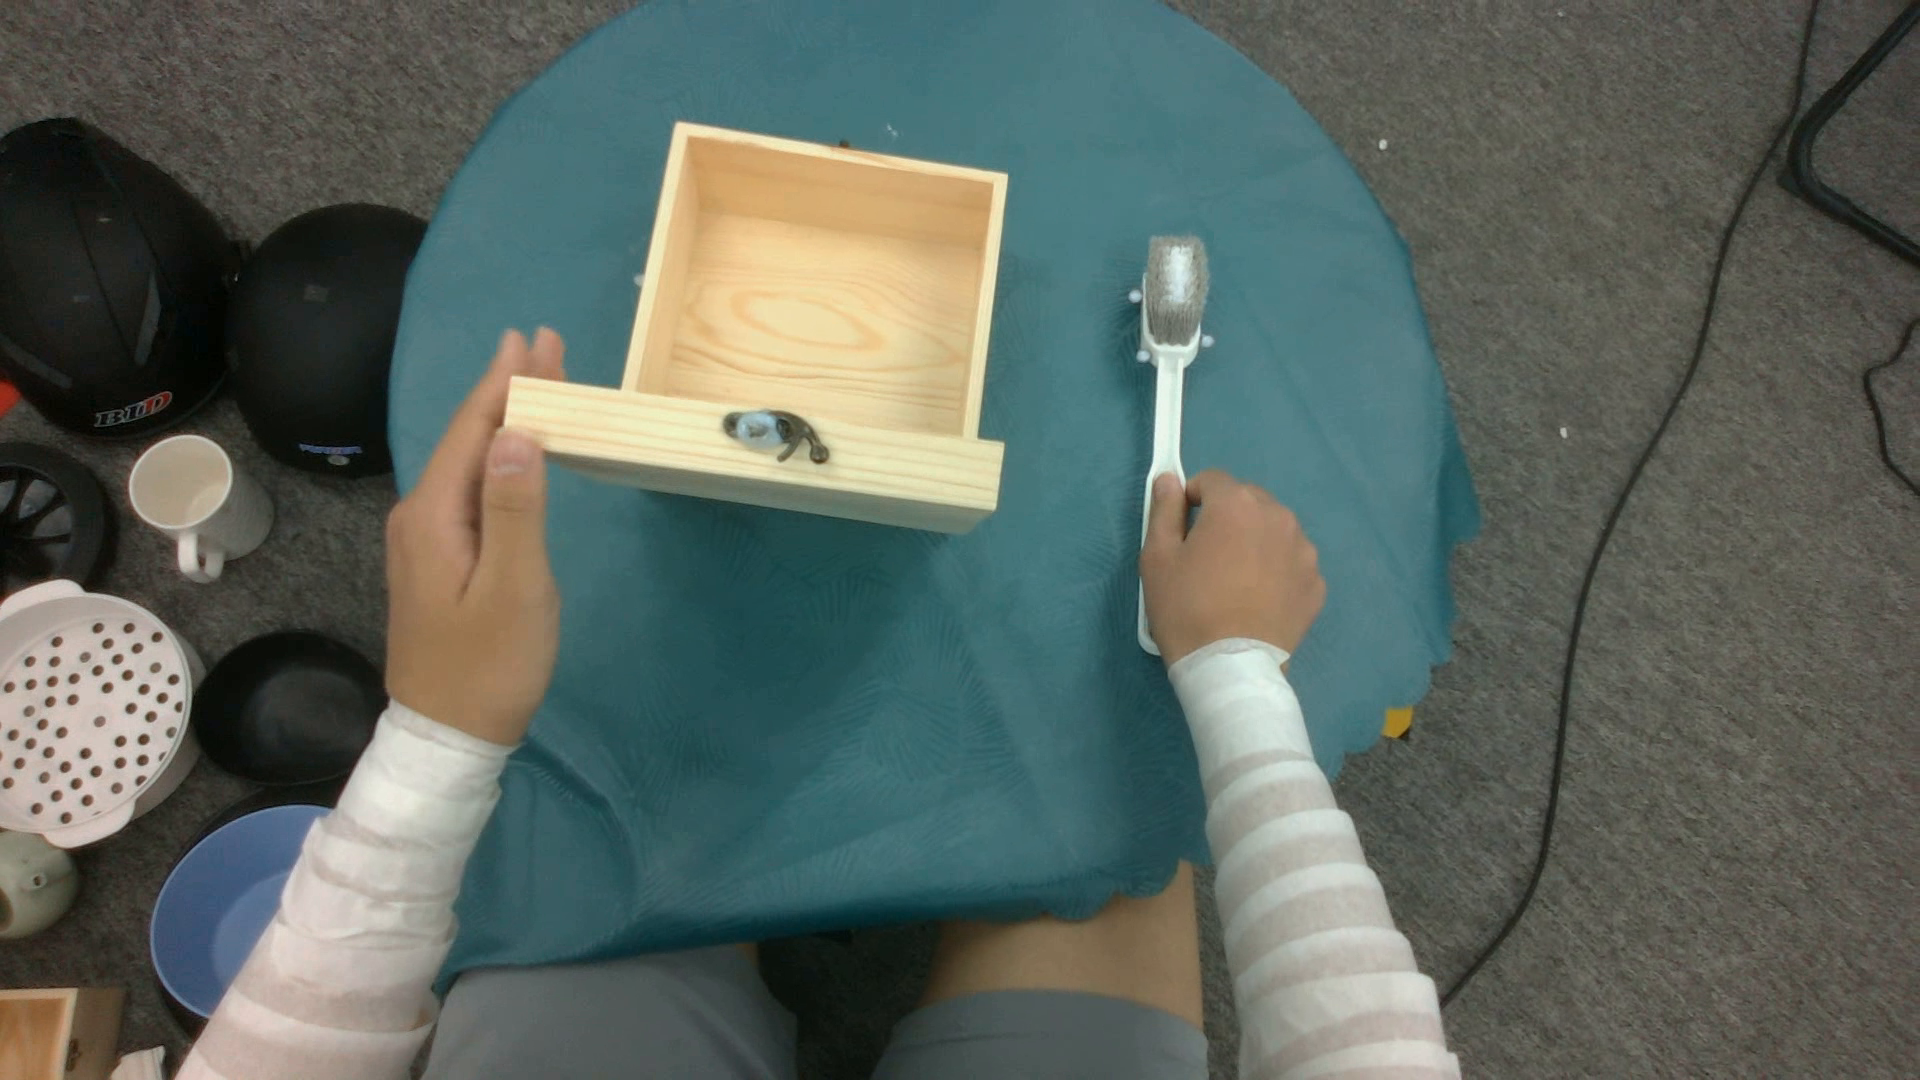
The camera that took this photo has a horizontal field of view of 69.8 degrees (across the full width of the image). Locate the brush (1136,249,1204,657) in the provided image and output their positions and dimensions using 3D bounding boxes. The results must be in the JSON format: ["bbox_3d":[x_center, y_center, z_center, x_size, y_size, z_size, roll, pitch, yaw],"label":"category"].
[{"bbox_3d":[0.116,-0.057,0.770,0.034,0.050,0.244,4,67,2],"label":"brush"}]

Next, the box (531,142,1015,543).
[{"bbox_3d":[-0.071,-0.106,0.672,0.182,0.252,0.266,7,71,-4],"label":"box"}]
